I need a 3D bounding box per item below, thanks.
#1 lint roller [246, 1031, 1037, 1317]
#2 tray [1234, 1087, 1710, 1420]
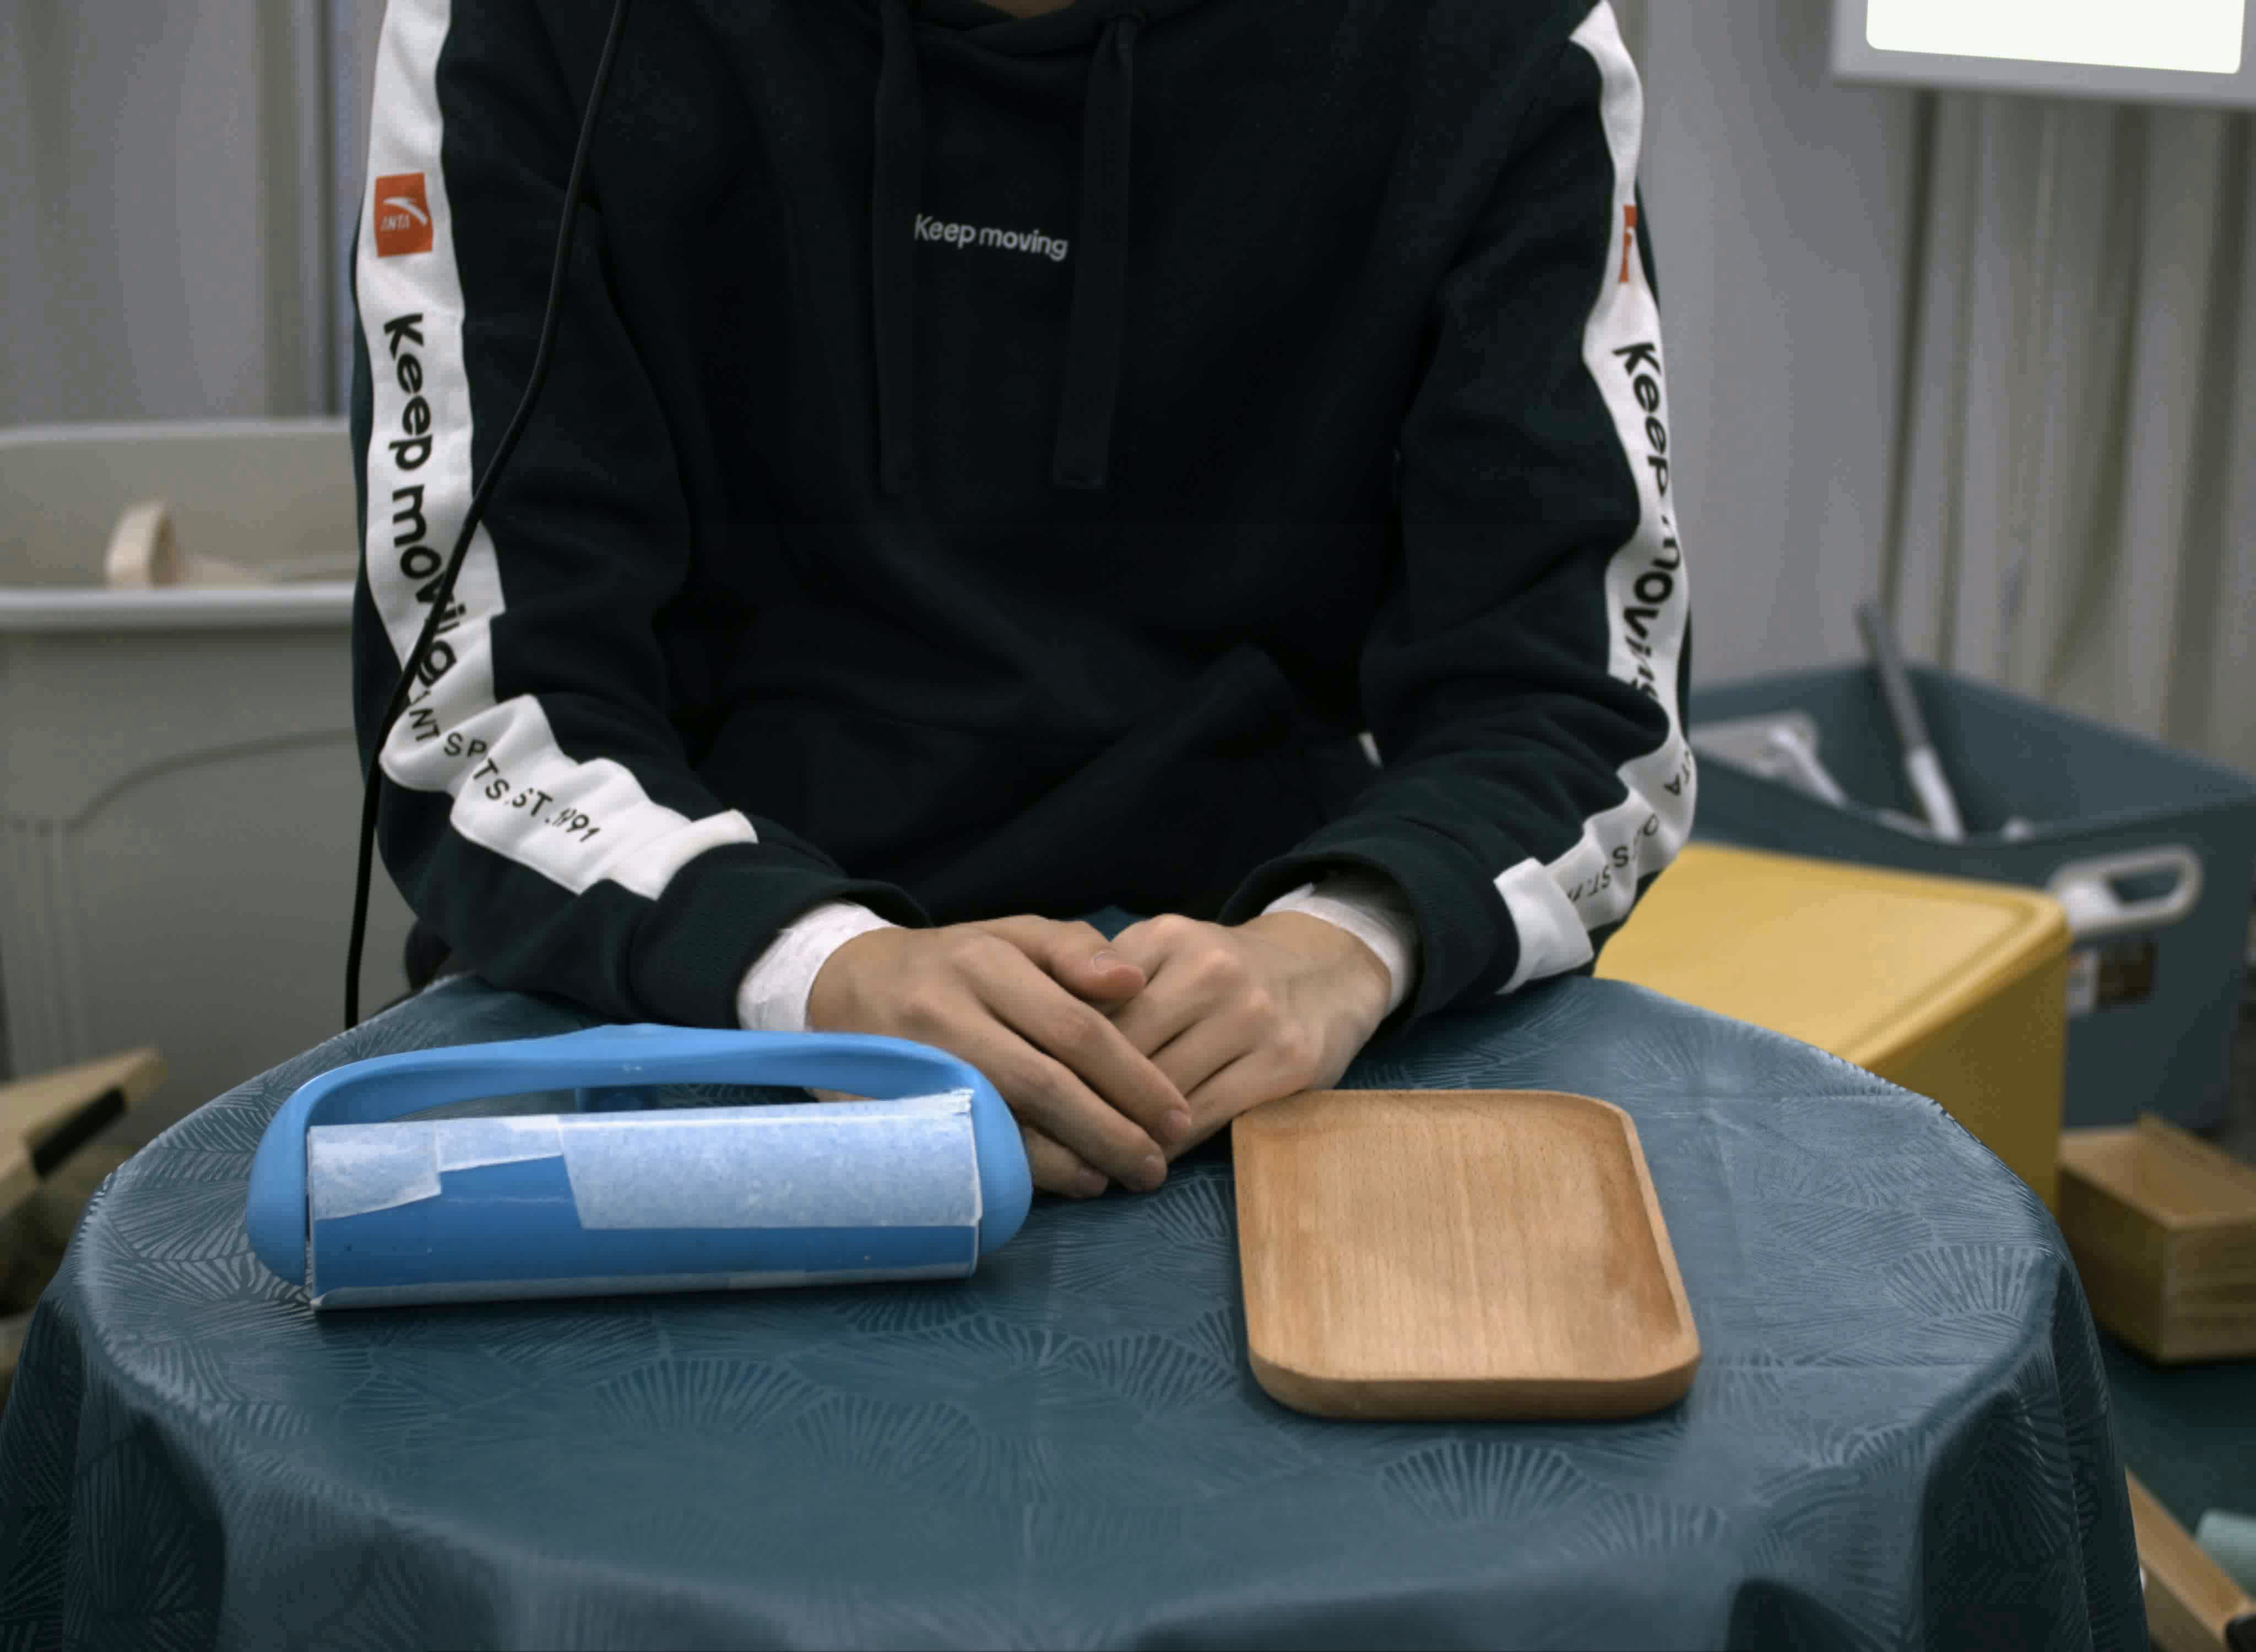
[{"bbox_3d":[-0.151,0.092,1.580,0.229,0.068,0.178,-4,17,-11],"label":"lint roller"},{"bbox_3d":[0.097,0.123,1.552,0.130,0.023,0.249,3,15,0],"label":"tray"}]
